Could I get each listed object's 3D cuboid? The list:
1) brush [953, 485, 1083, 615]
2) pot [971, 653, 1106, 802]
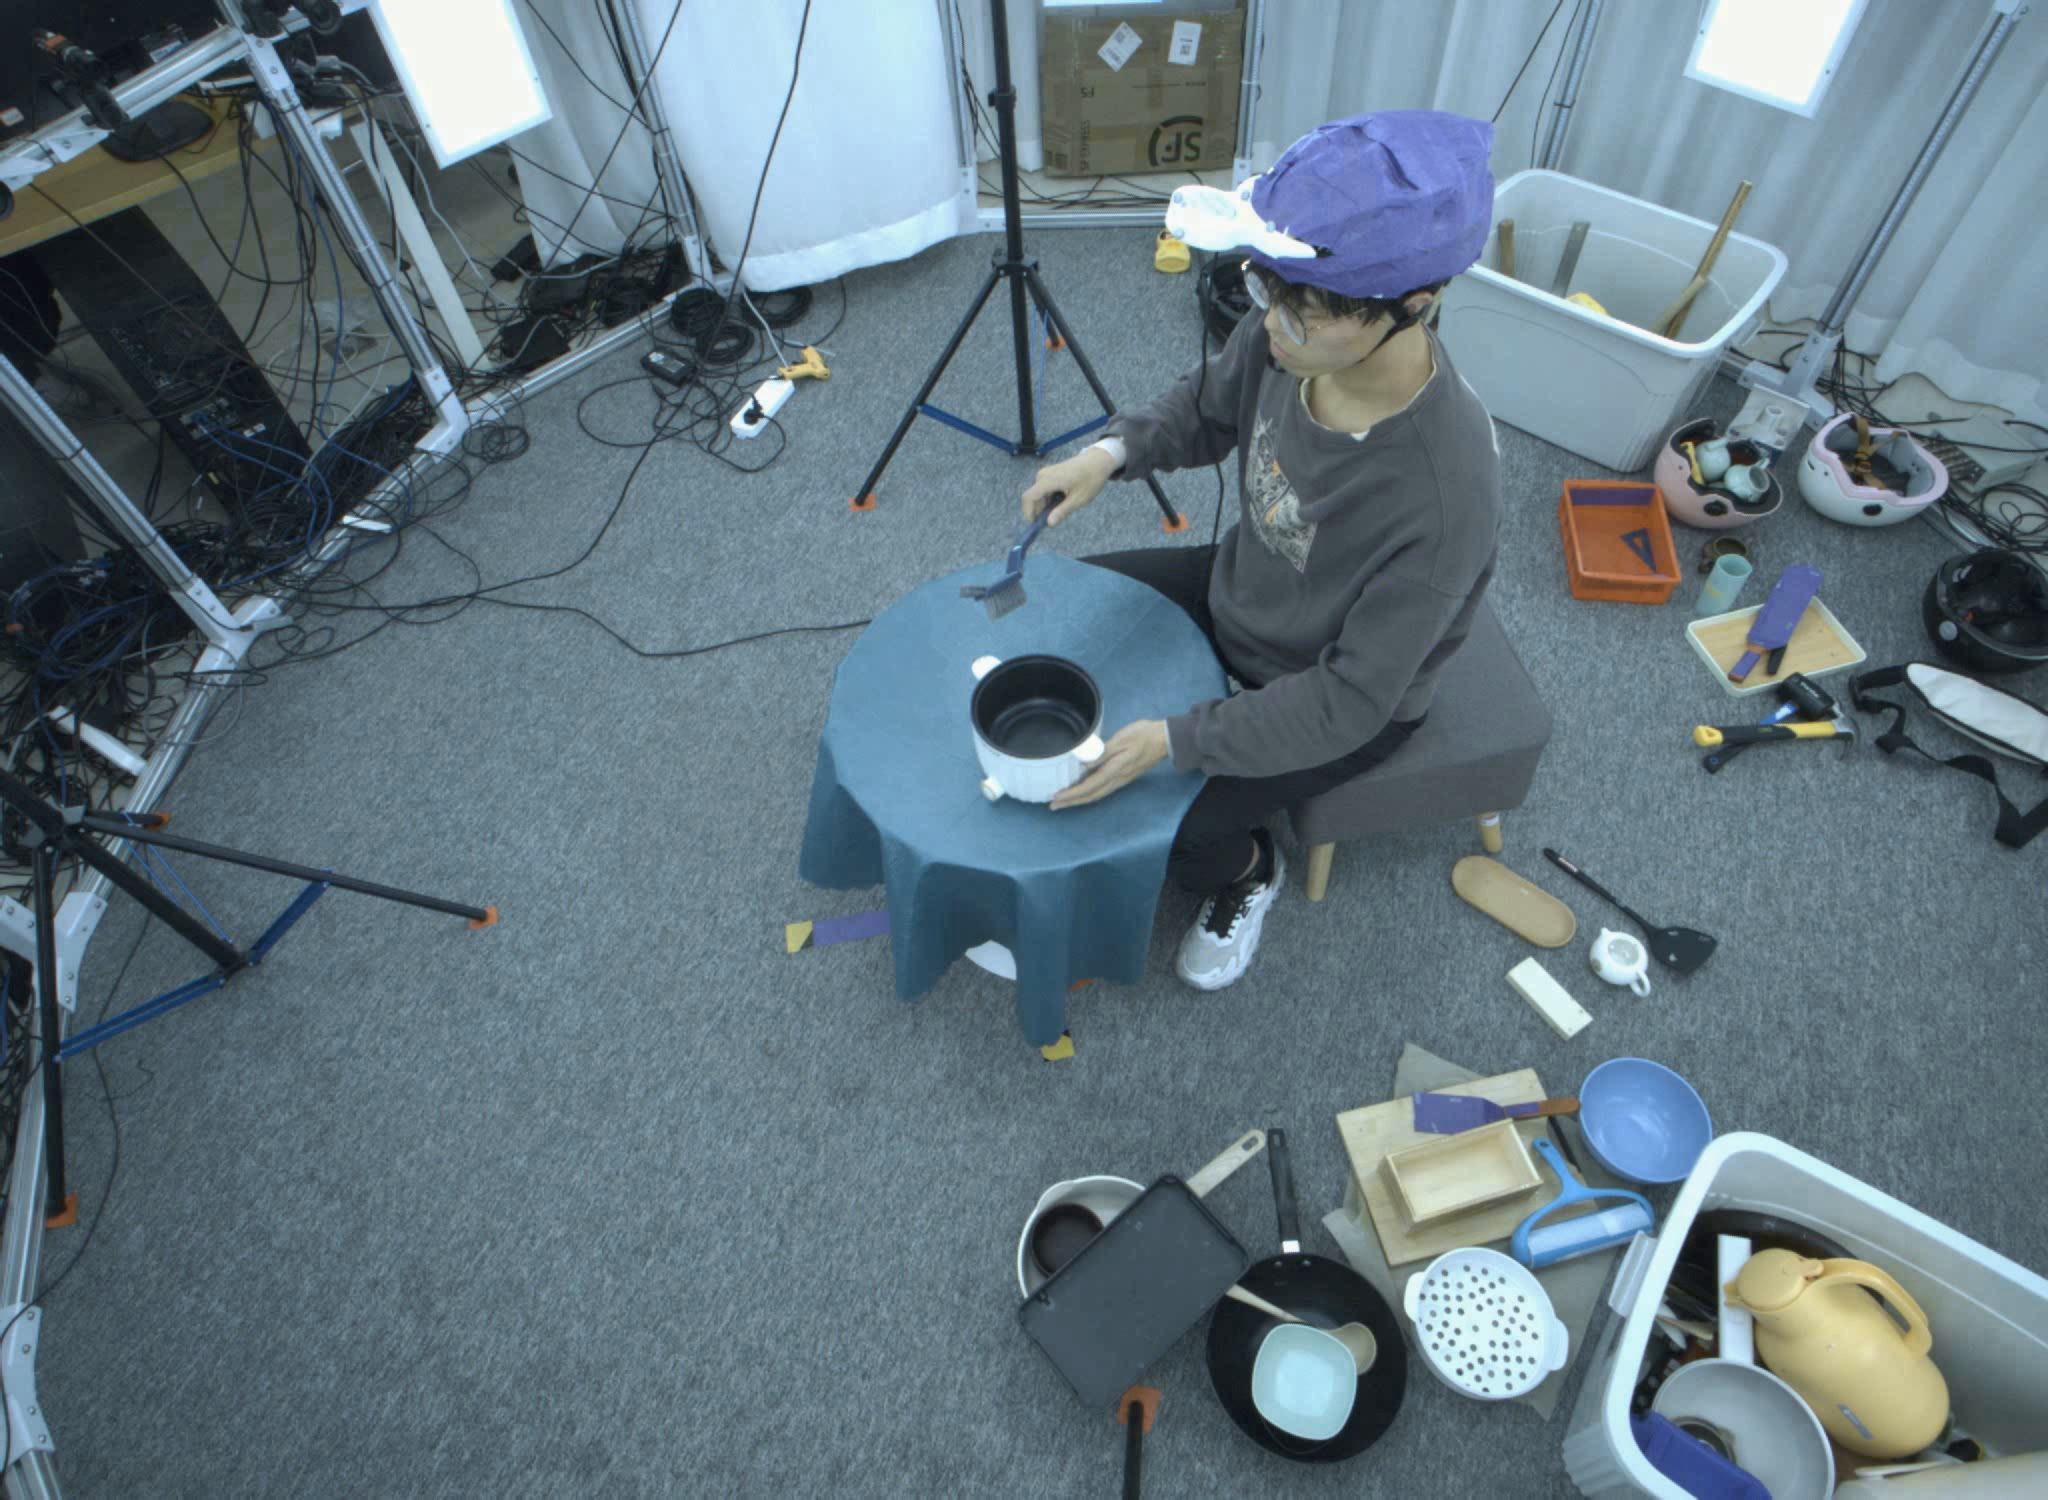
[{"bbox_3d":[-0.002,-0.290,1.671,0.033,0.097,0.273,-13,41,48],"label":"brush"},{"bbox_3d":[0.018,-0.019,1.711,0.192,0.144,0.236,-37,59,-26],"label":"pot"}]
